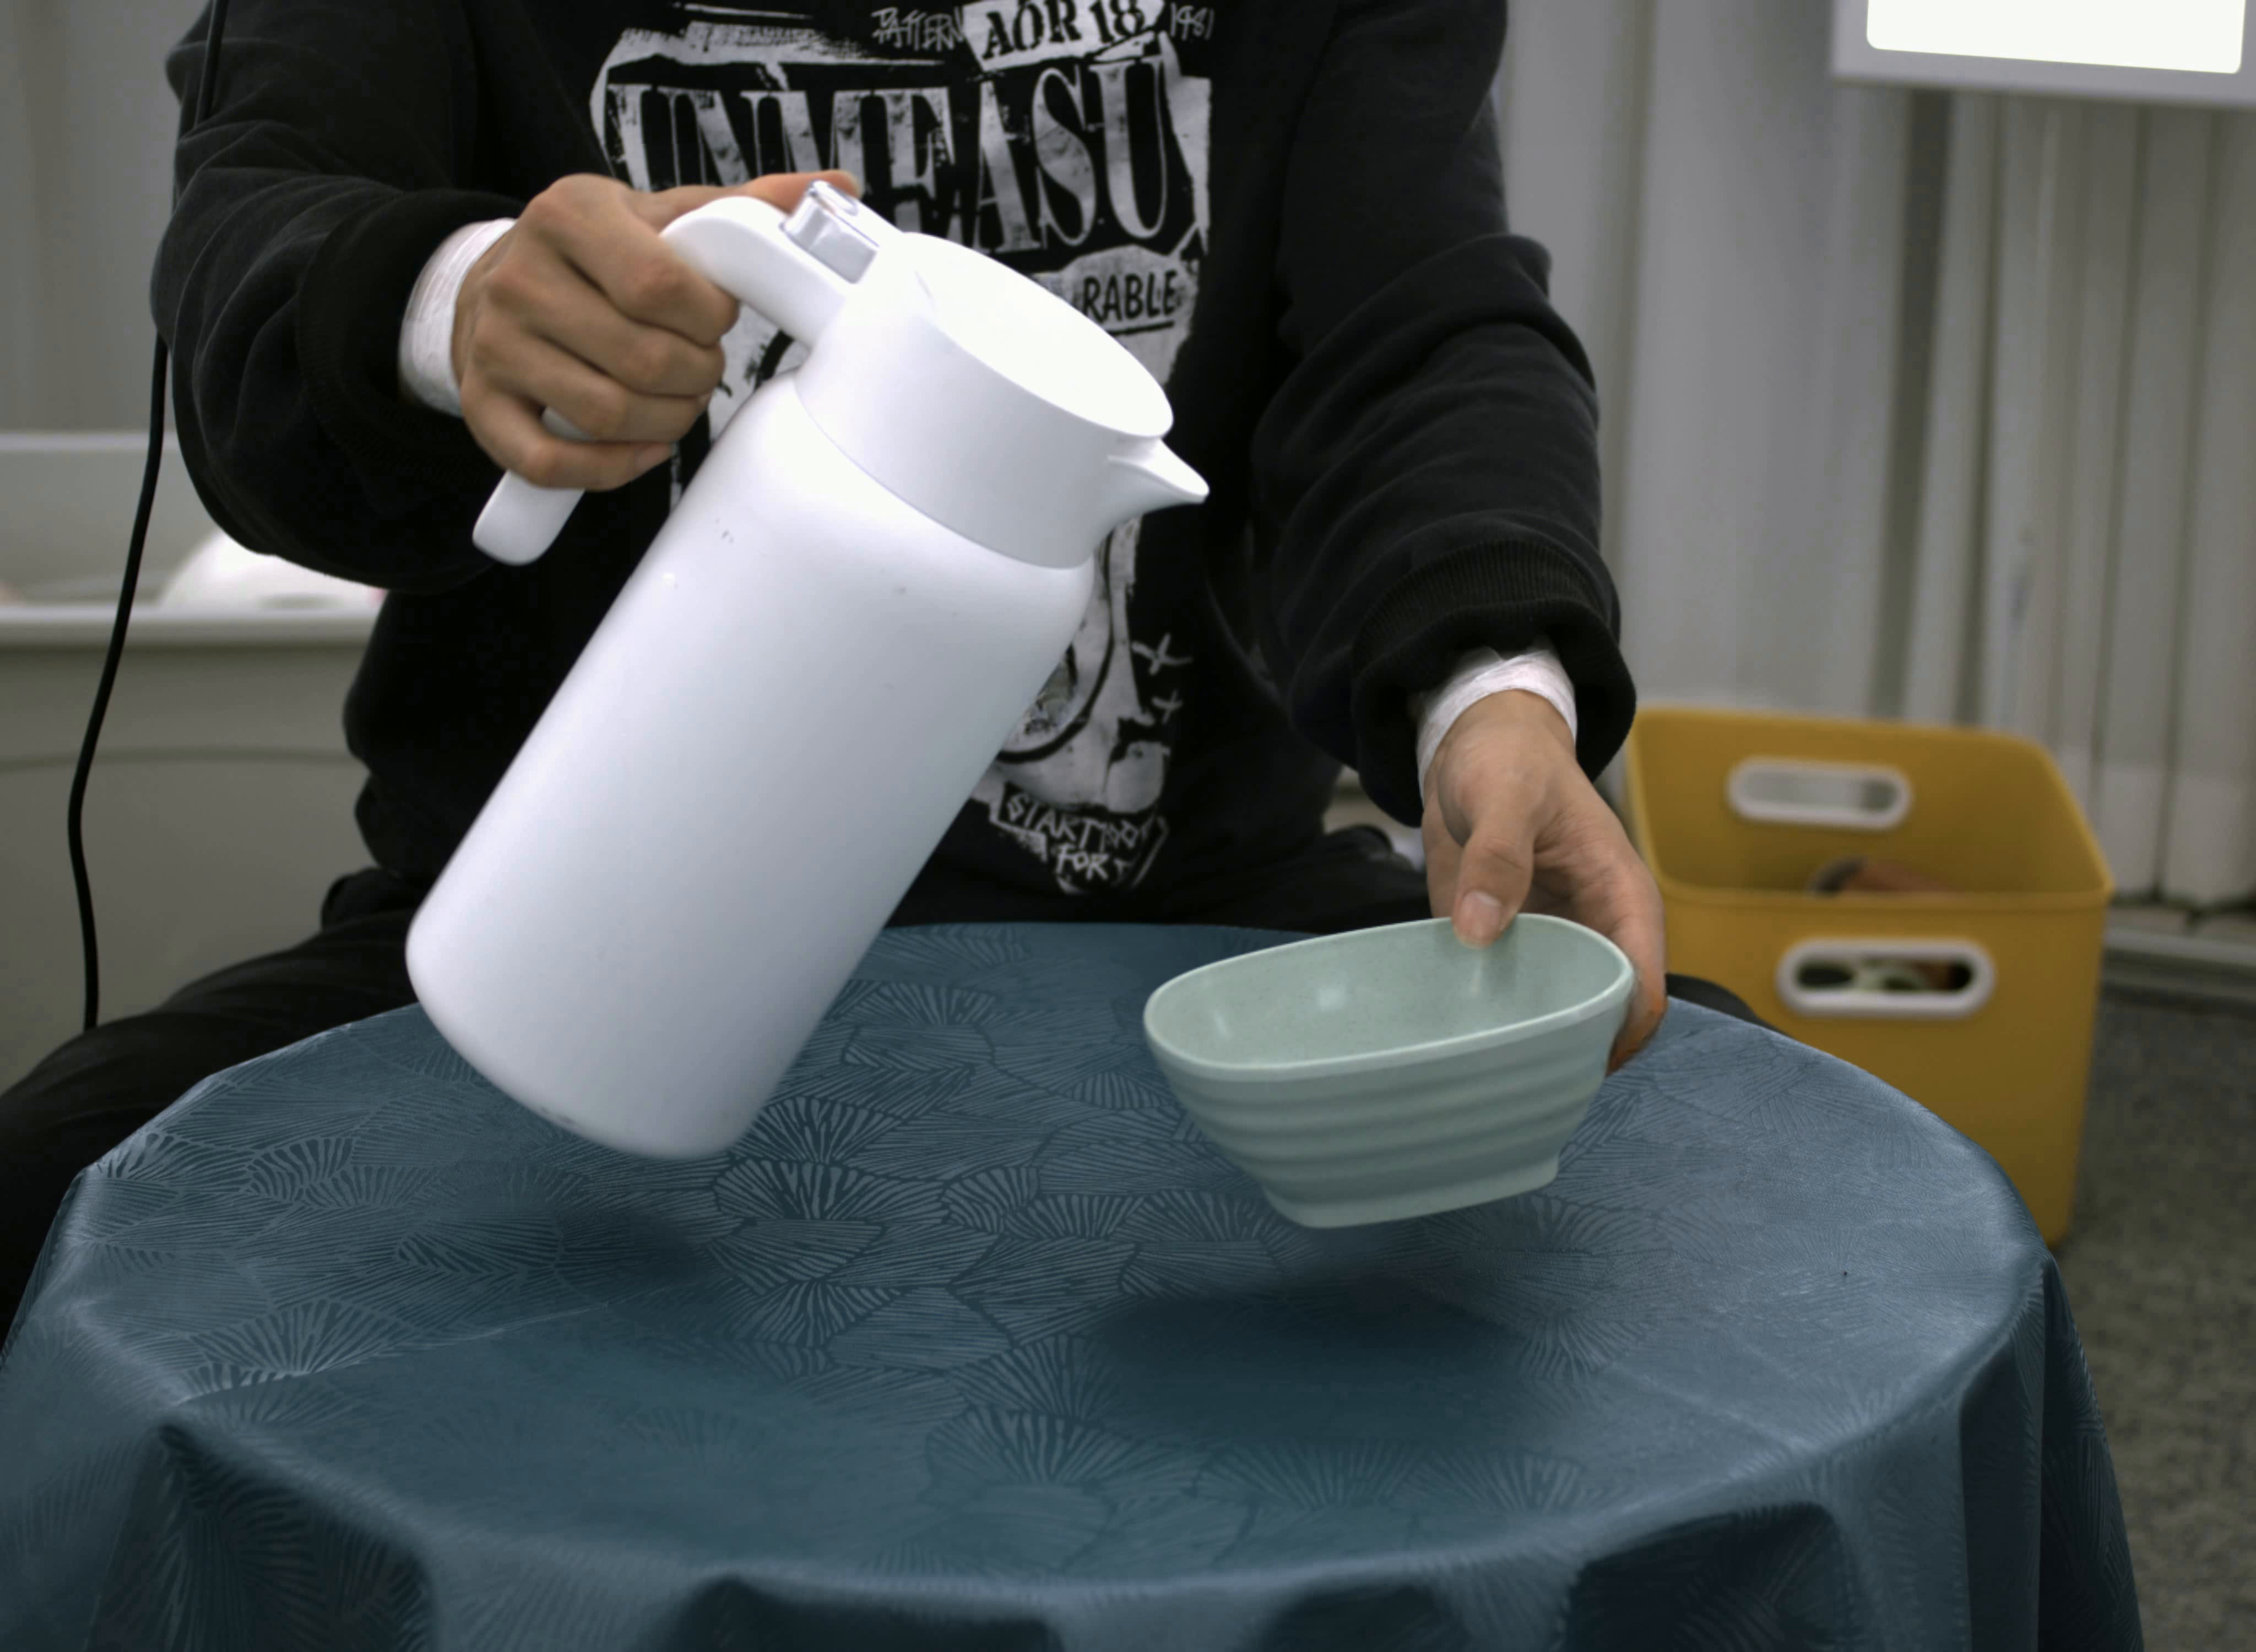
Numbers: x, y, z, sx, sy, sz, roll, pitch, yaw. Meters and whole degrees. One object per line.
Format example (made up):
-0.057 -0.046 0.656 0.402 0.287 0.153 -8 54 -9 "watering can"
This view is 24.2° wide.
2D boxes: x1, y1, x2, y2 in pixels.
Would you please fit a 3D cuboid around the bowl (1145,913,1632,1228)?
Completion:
0.078 0.073 1.519 0.151 0.059 0.151 -7 14 2 "bowl"

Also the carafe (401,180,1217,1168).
-0.112 -0.046 1.514 0.172 0.270 0.123 34 21 1 "carafe"
